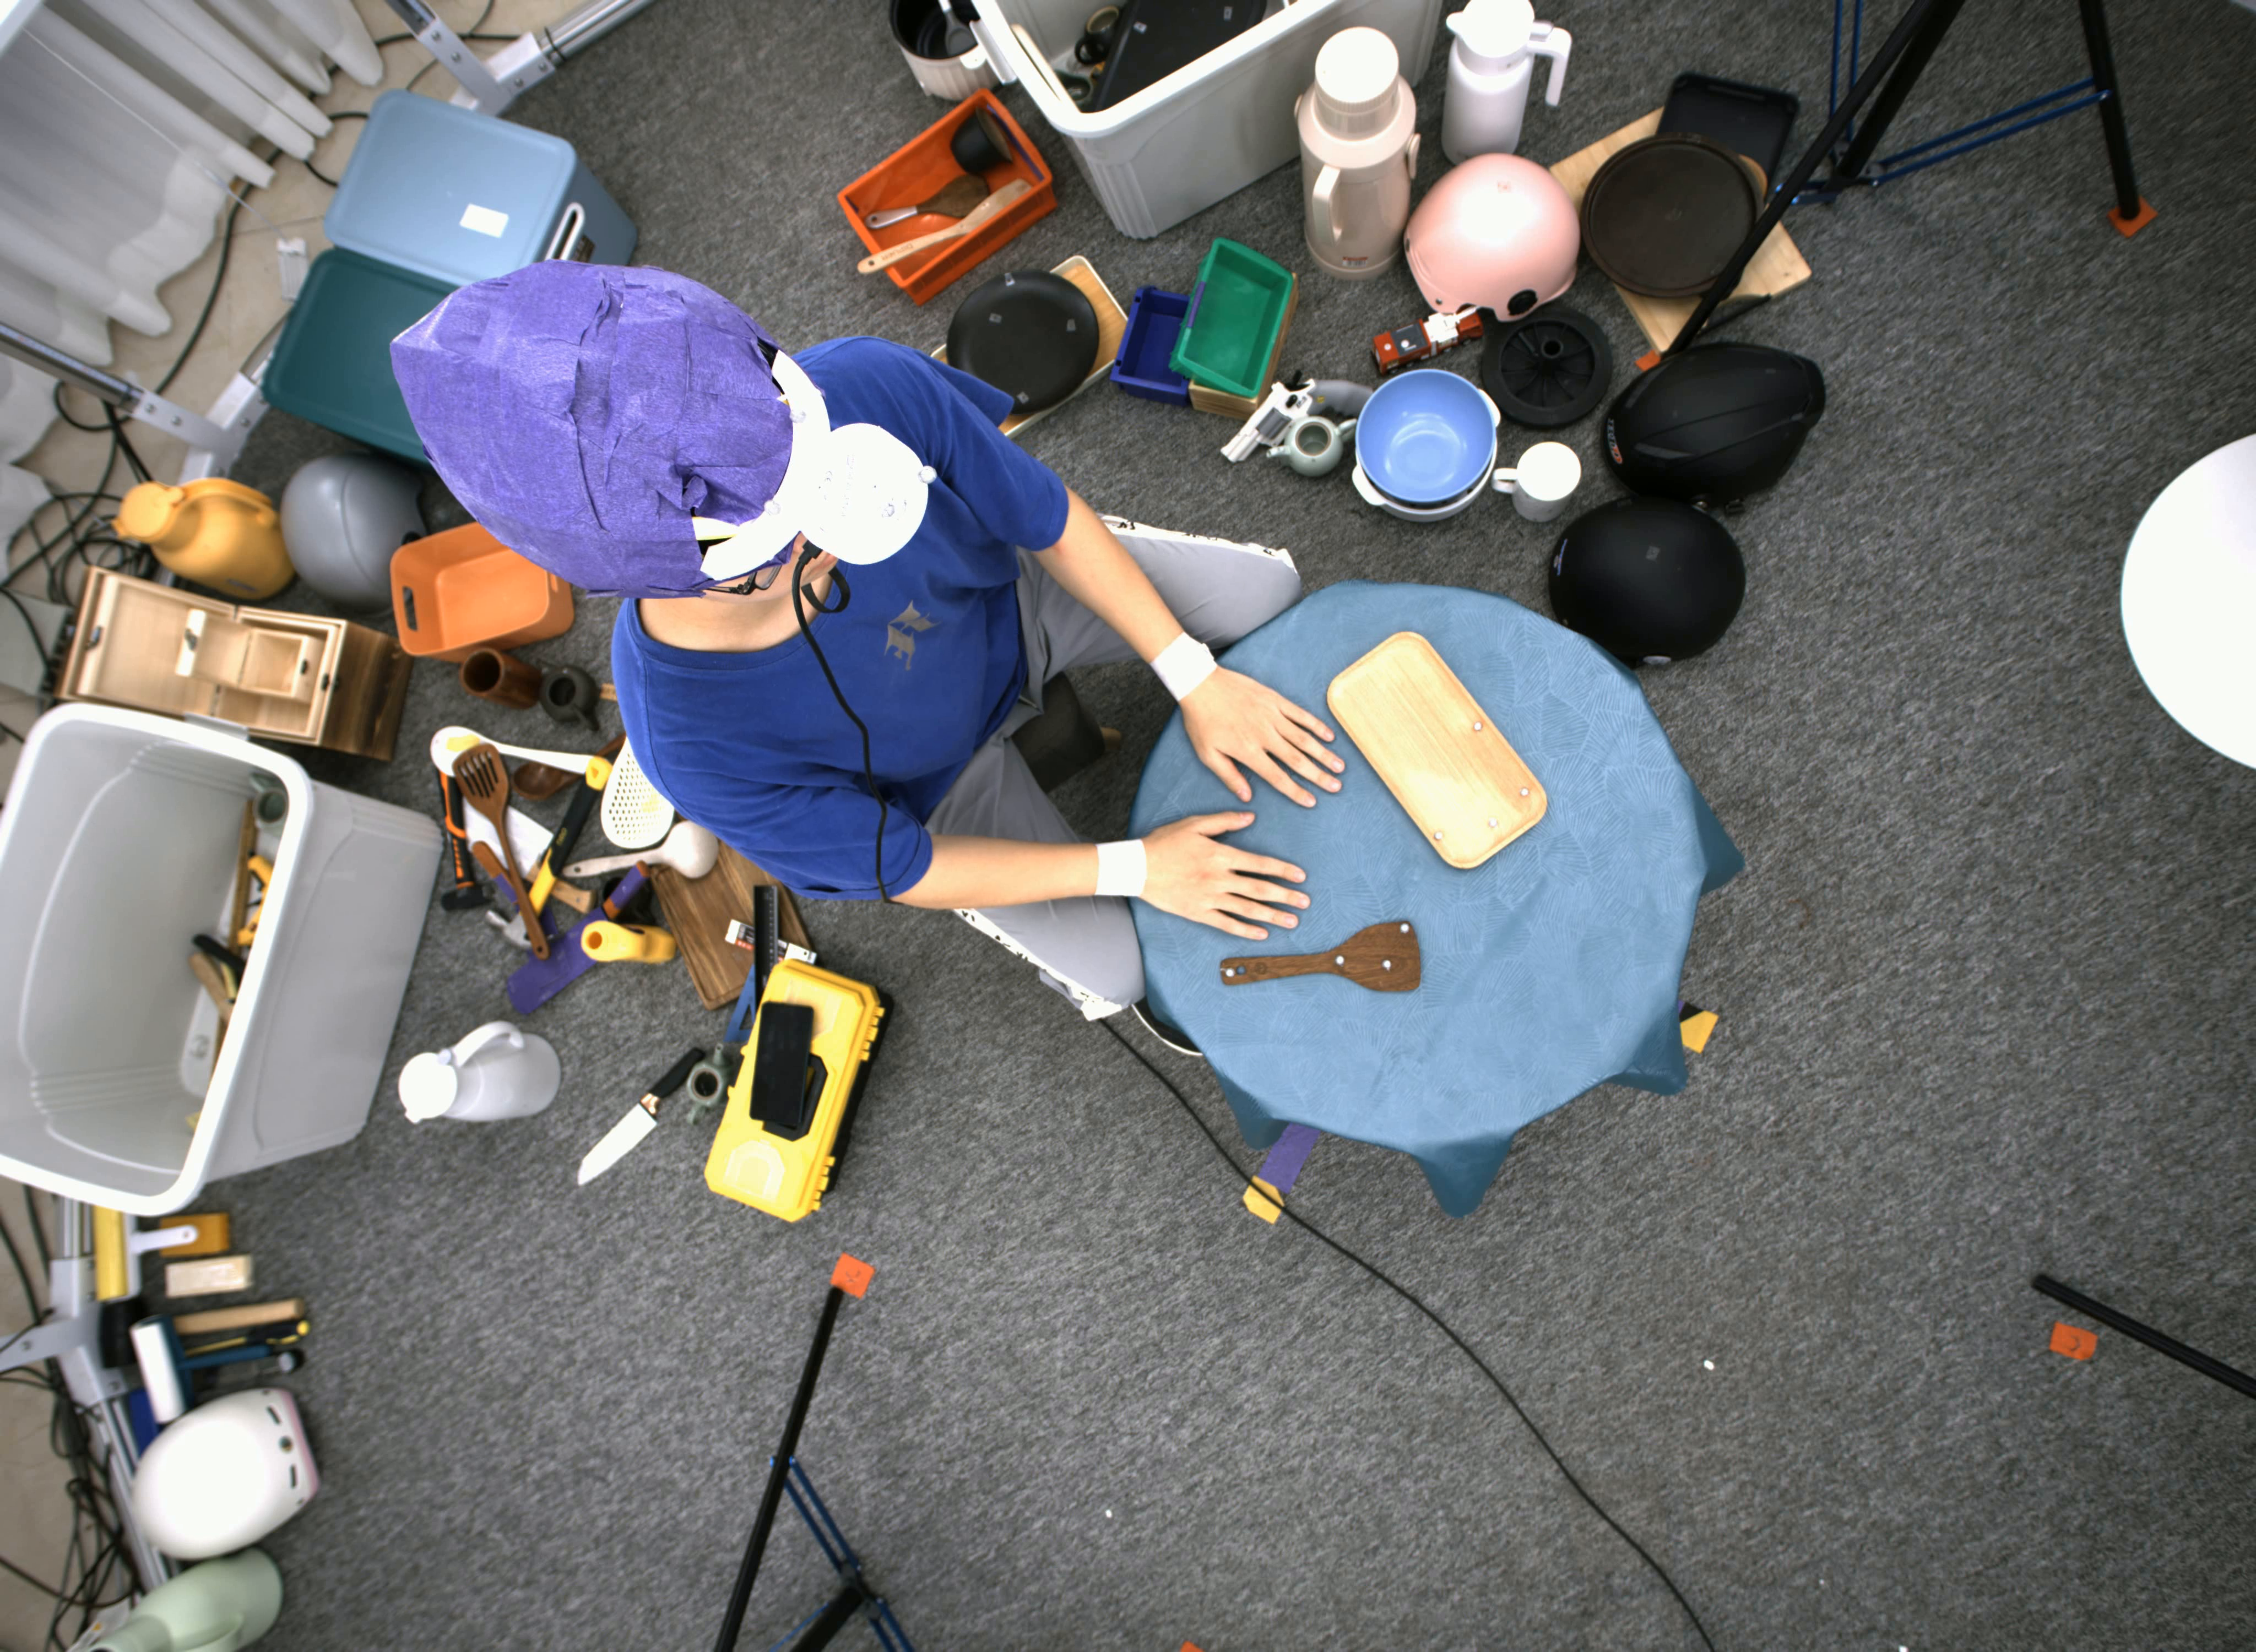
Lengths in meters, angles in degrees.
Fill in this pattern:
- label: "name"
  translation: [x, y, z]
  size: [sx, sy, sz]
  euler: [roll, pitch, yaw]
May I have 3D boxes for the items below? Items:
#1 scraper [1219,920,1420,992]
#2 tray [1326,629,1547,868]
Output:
- label: "scraper"
  translation: [0.201, 0.144, 1.463]
  size: [0.212, 0.011, 0.075]
  euler: [-6, 85, 11]
- label: "tray"
  translation: [0.323, -0.084, 1.447]
  size: [0.131, 0.023, 0.249]
  euler: [-35, 81, 5]
